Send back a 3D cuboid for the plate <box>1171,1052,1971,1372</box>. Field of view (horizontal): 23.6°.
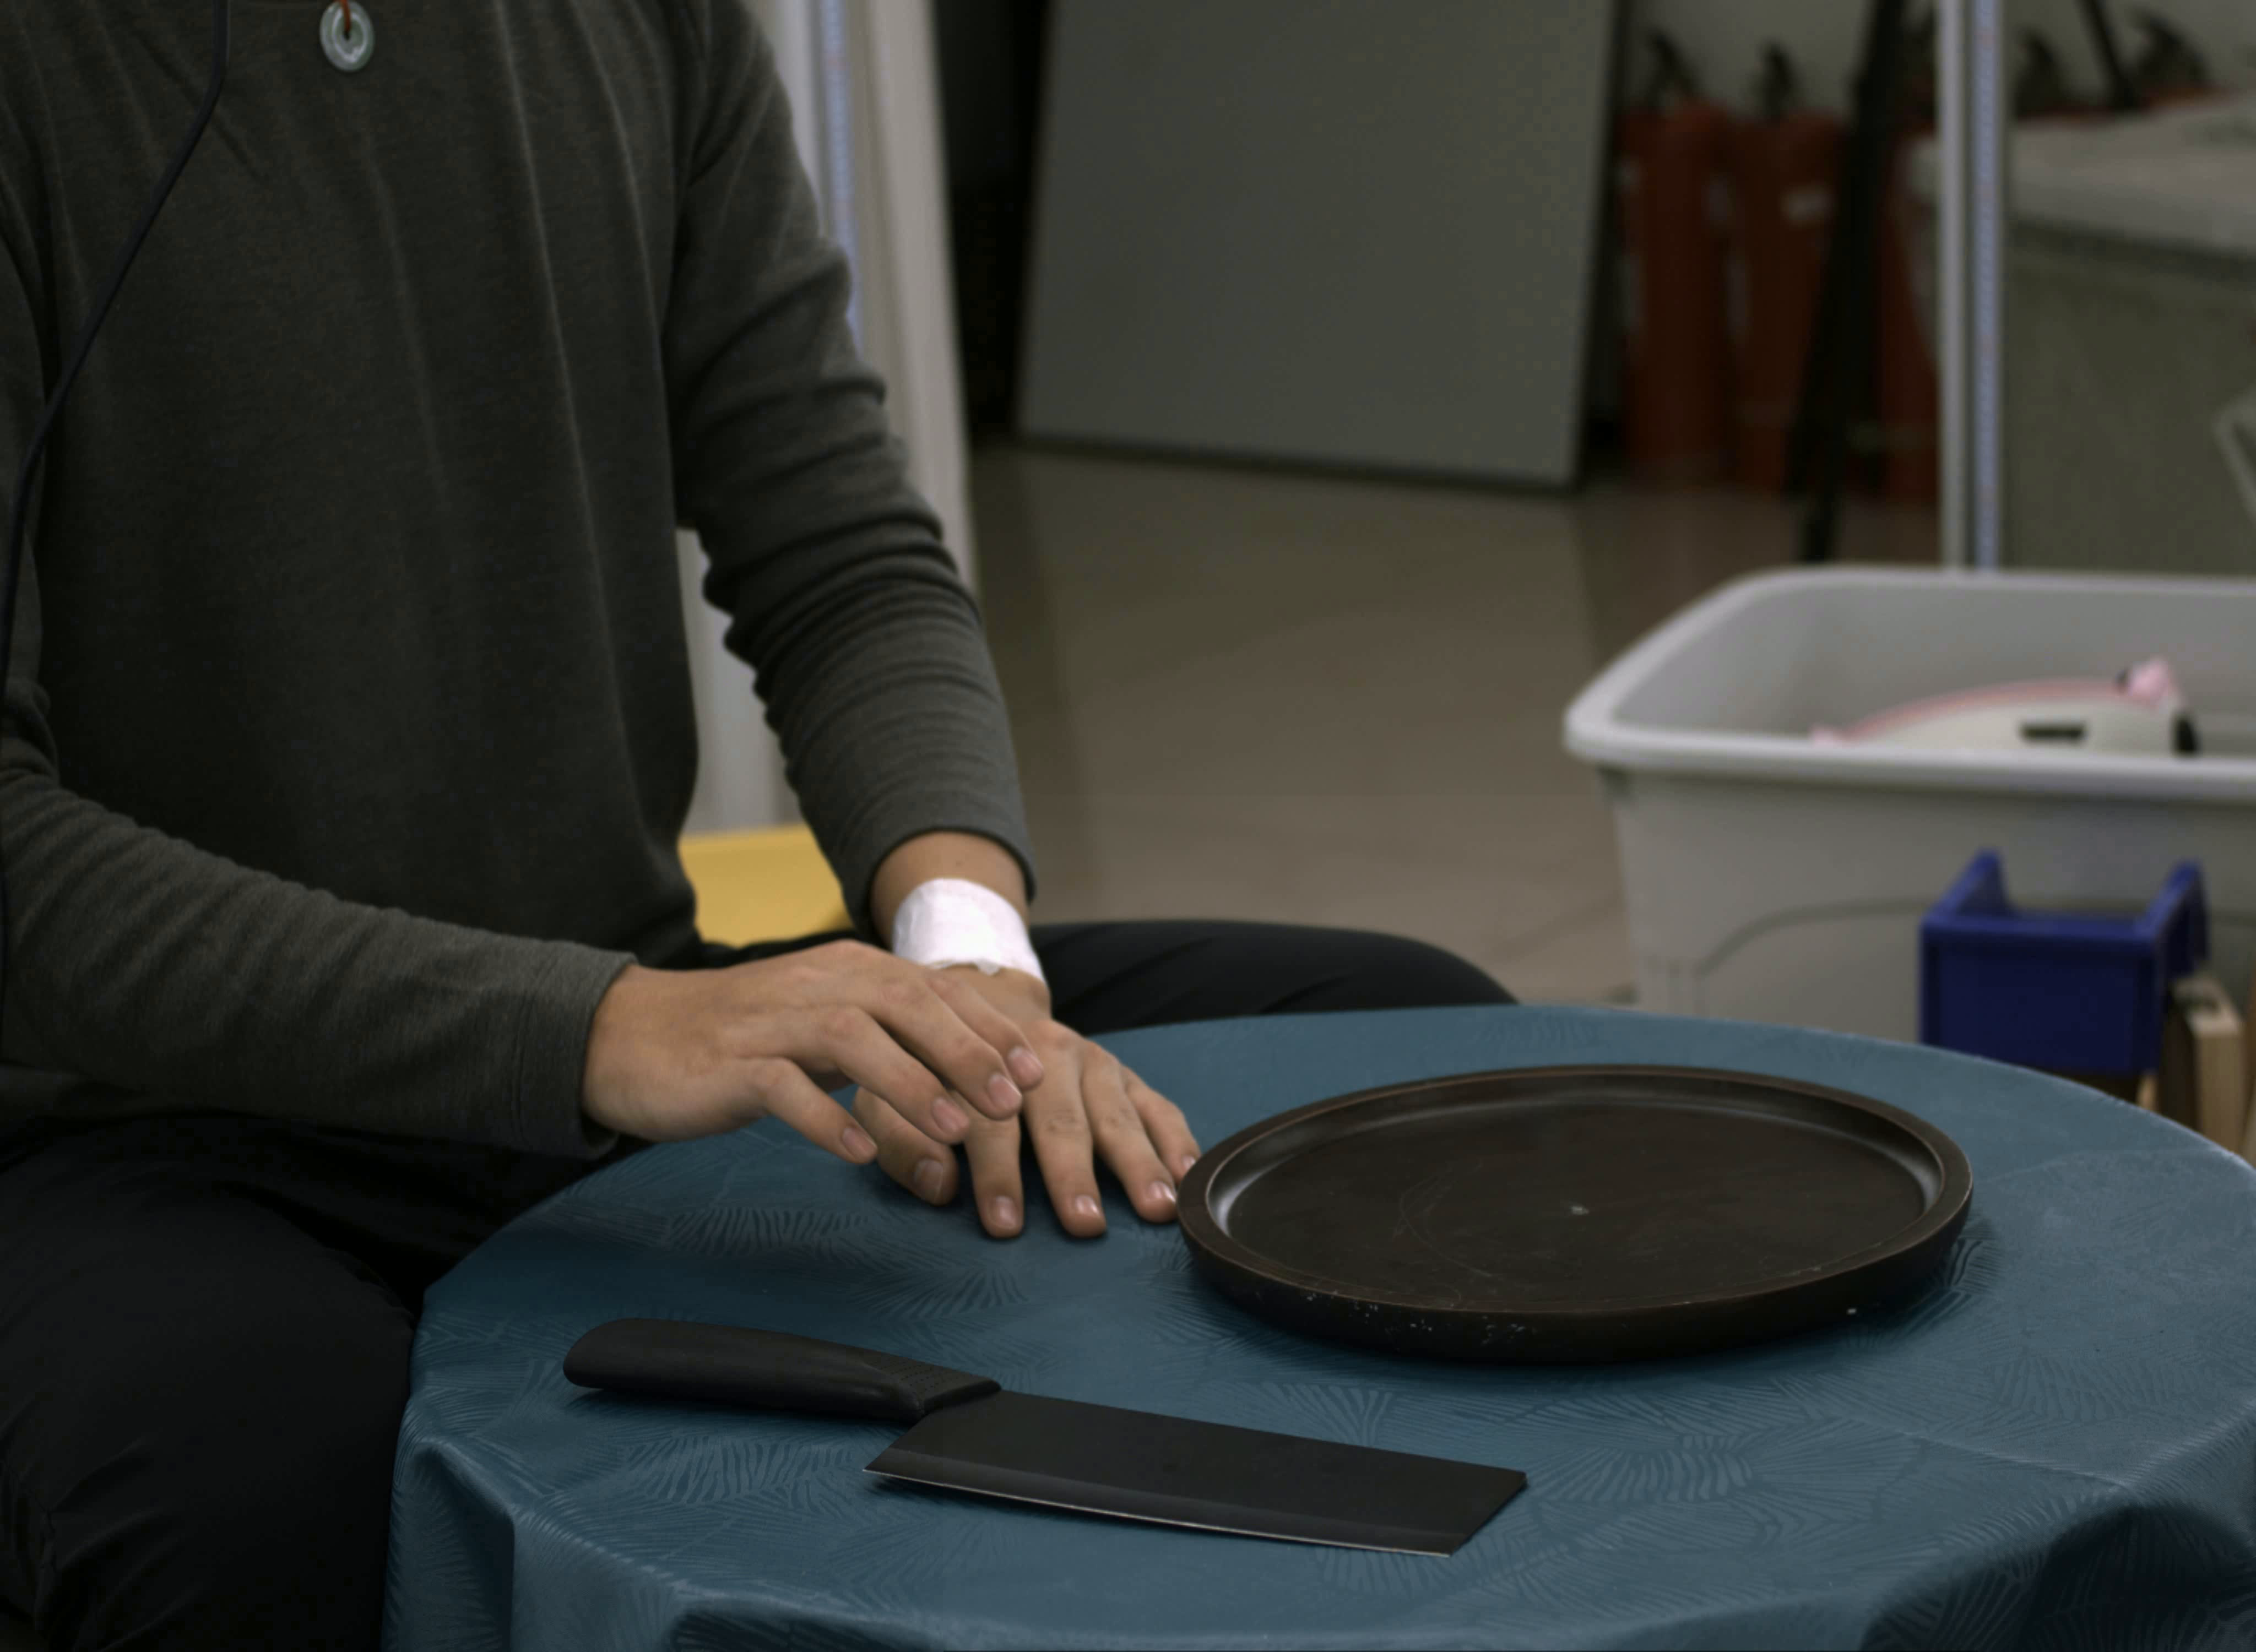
[{"bbox_3d":[0.138,0.121,1.687,0.251,0.029,0.255,-5,14,0],"label":"plate"}]

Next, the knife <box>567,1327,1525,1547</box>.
[{"bbox_3d":[-0.032,0.174,1.537,0.303,0.021,0.079,6,18,31],"label":"knife"}]
